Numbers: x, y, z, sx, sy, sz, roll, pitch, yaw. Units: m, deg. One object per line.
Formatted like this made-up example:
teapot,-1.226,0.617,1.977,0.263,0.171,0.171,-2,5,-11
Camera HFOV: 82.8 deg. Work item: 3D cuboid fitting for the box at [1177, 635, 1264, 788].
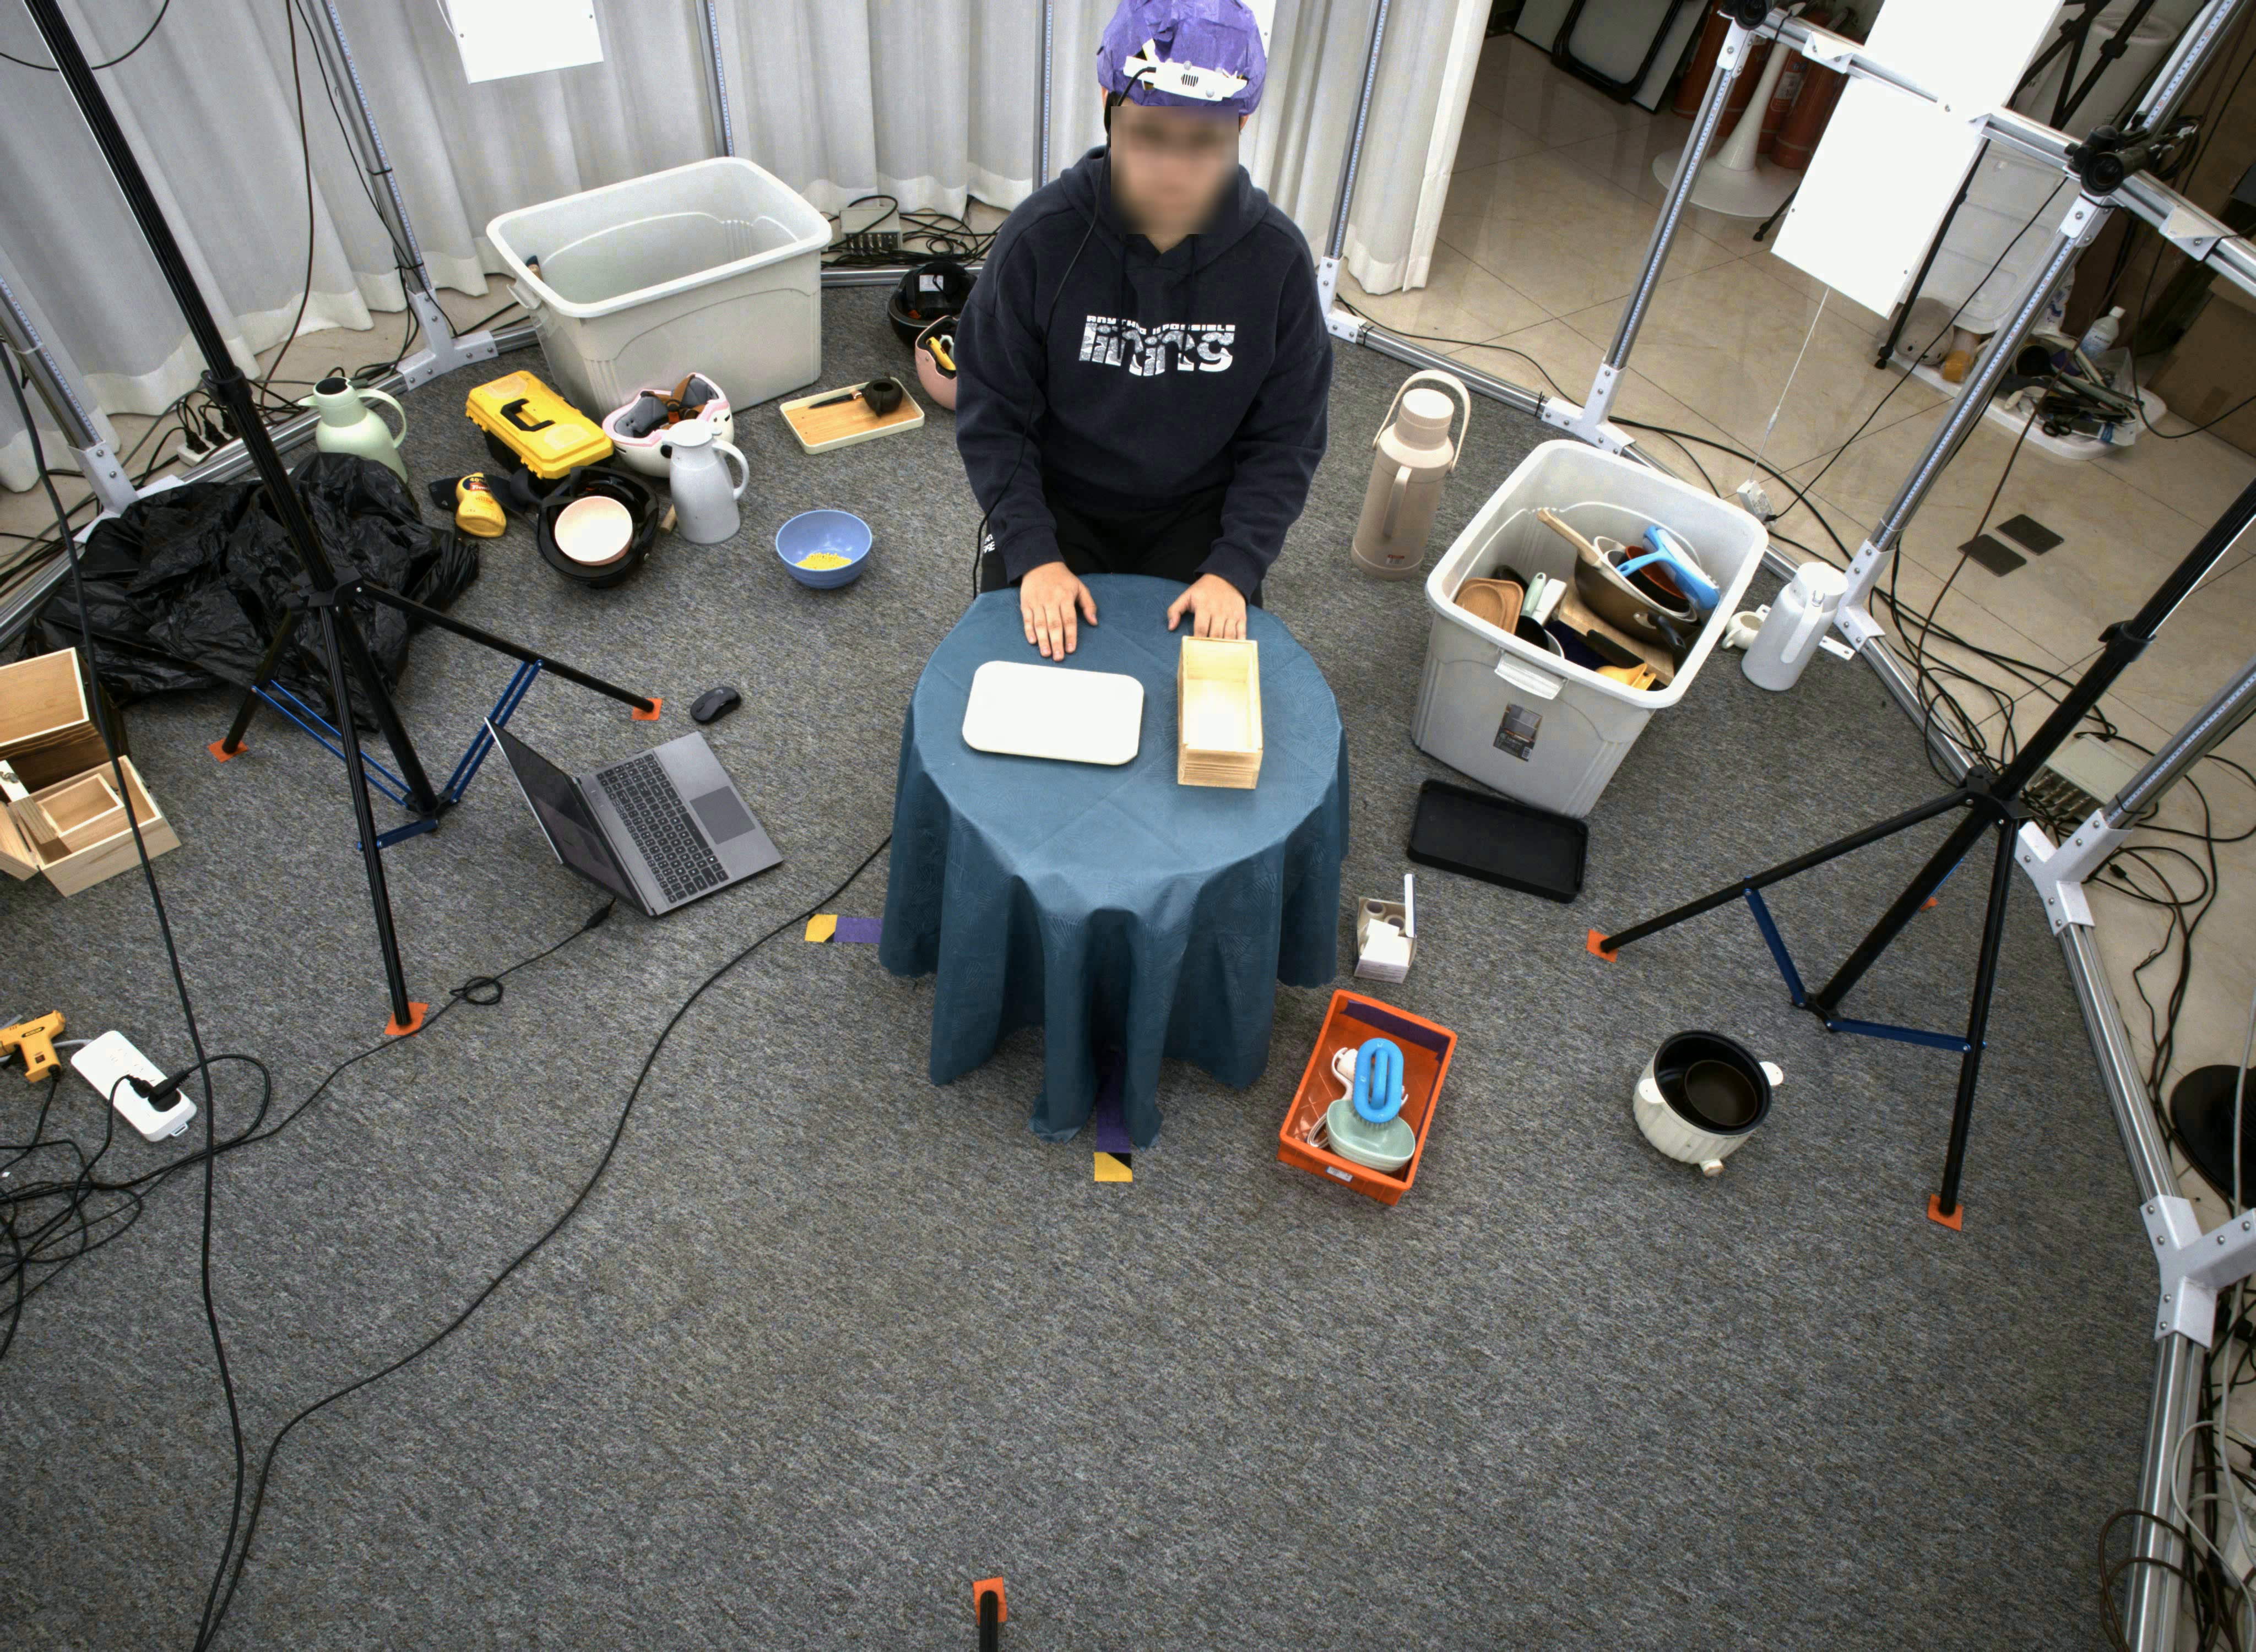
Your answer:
box,0.124,-0.160,1.762,0.107,0.078,0.217,3,49,-2

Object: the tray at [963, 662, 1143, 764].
tray,-0.101,-0.157,1.782,0.239,0.017,0.175,6,48,1
